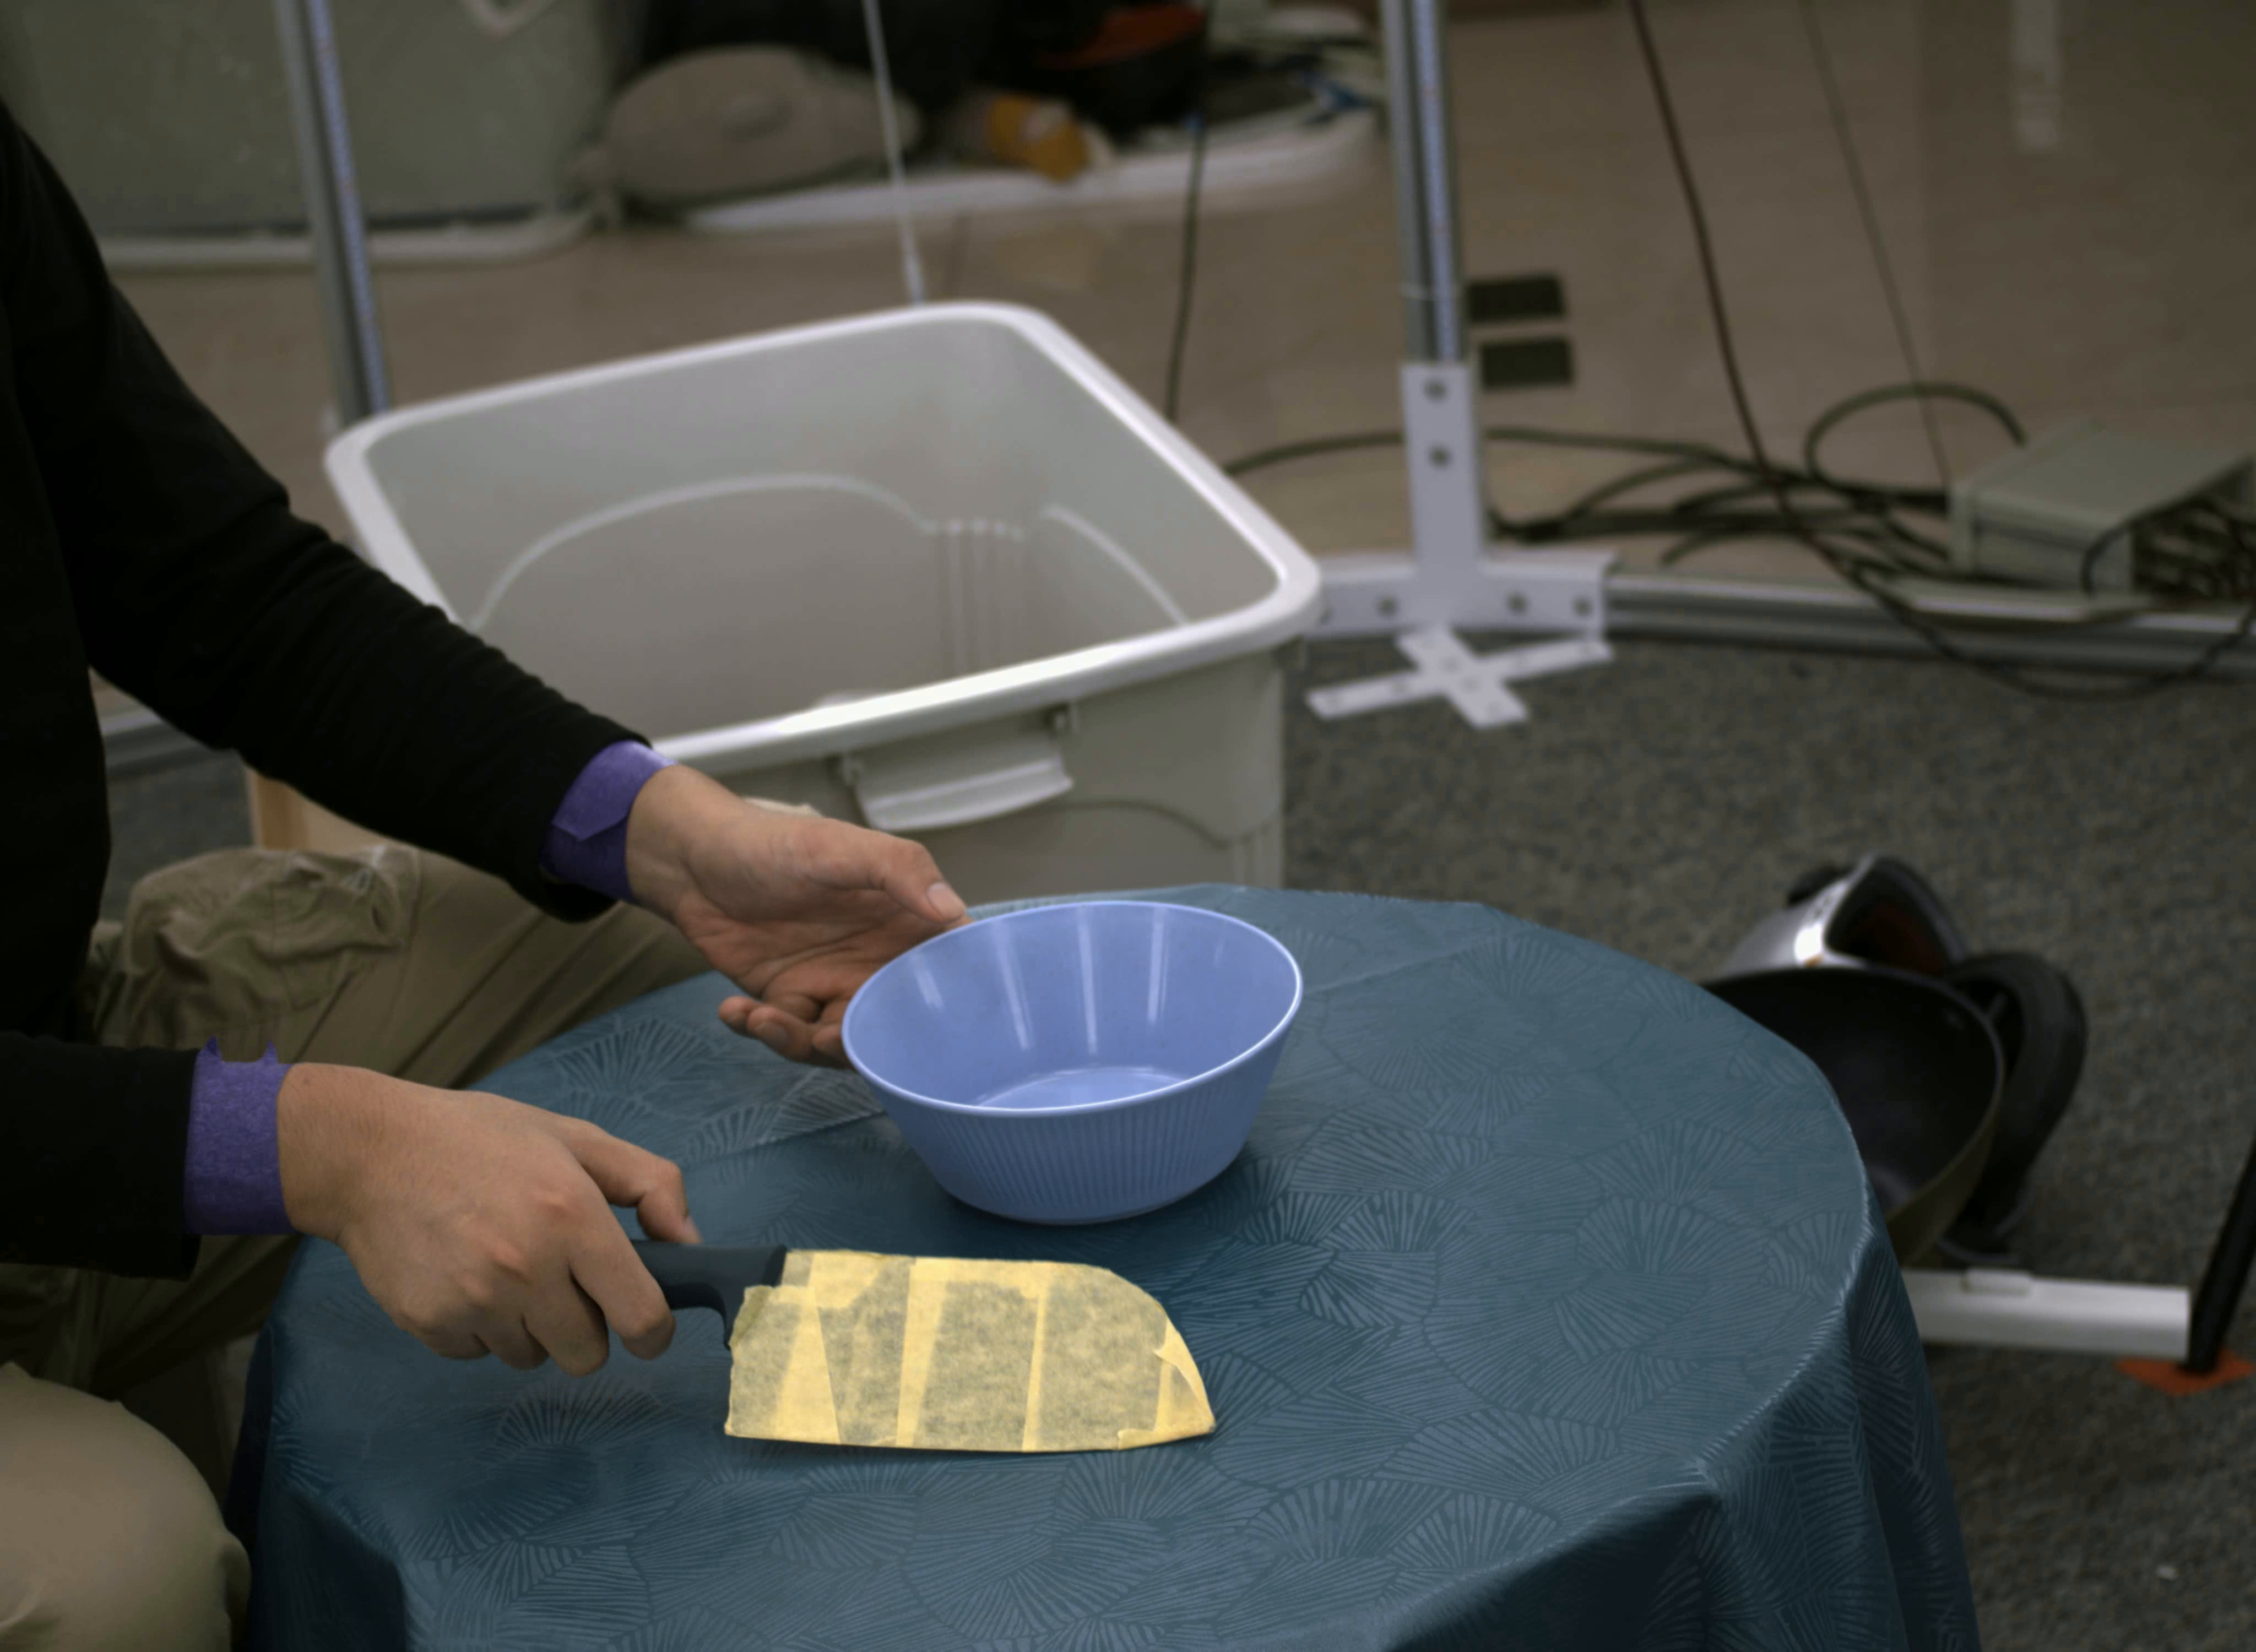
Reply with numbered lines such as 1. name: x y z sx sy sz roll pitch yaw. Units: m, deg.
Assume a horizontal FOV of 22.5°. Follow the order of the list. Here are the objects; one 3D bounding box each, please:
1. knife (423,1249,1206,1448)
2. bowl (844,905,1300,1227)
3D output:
1. knife: -0.113 0.184 2.013 0.289 0.028 0.080 4 59 10
2. bowl: -0.018 0.097 2.162 0.176 0.071 0.173 -5 26 3
